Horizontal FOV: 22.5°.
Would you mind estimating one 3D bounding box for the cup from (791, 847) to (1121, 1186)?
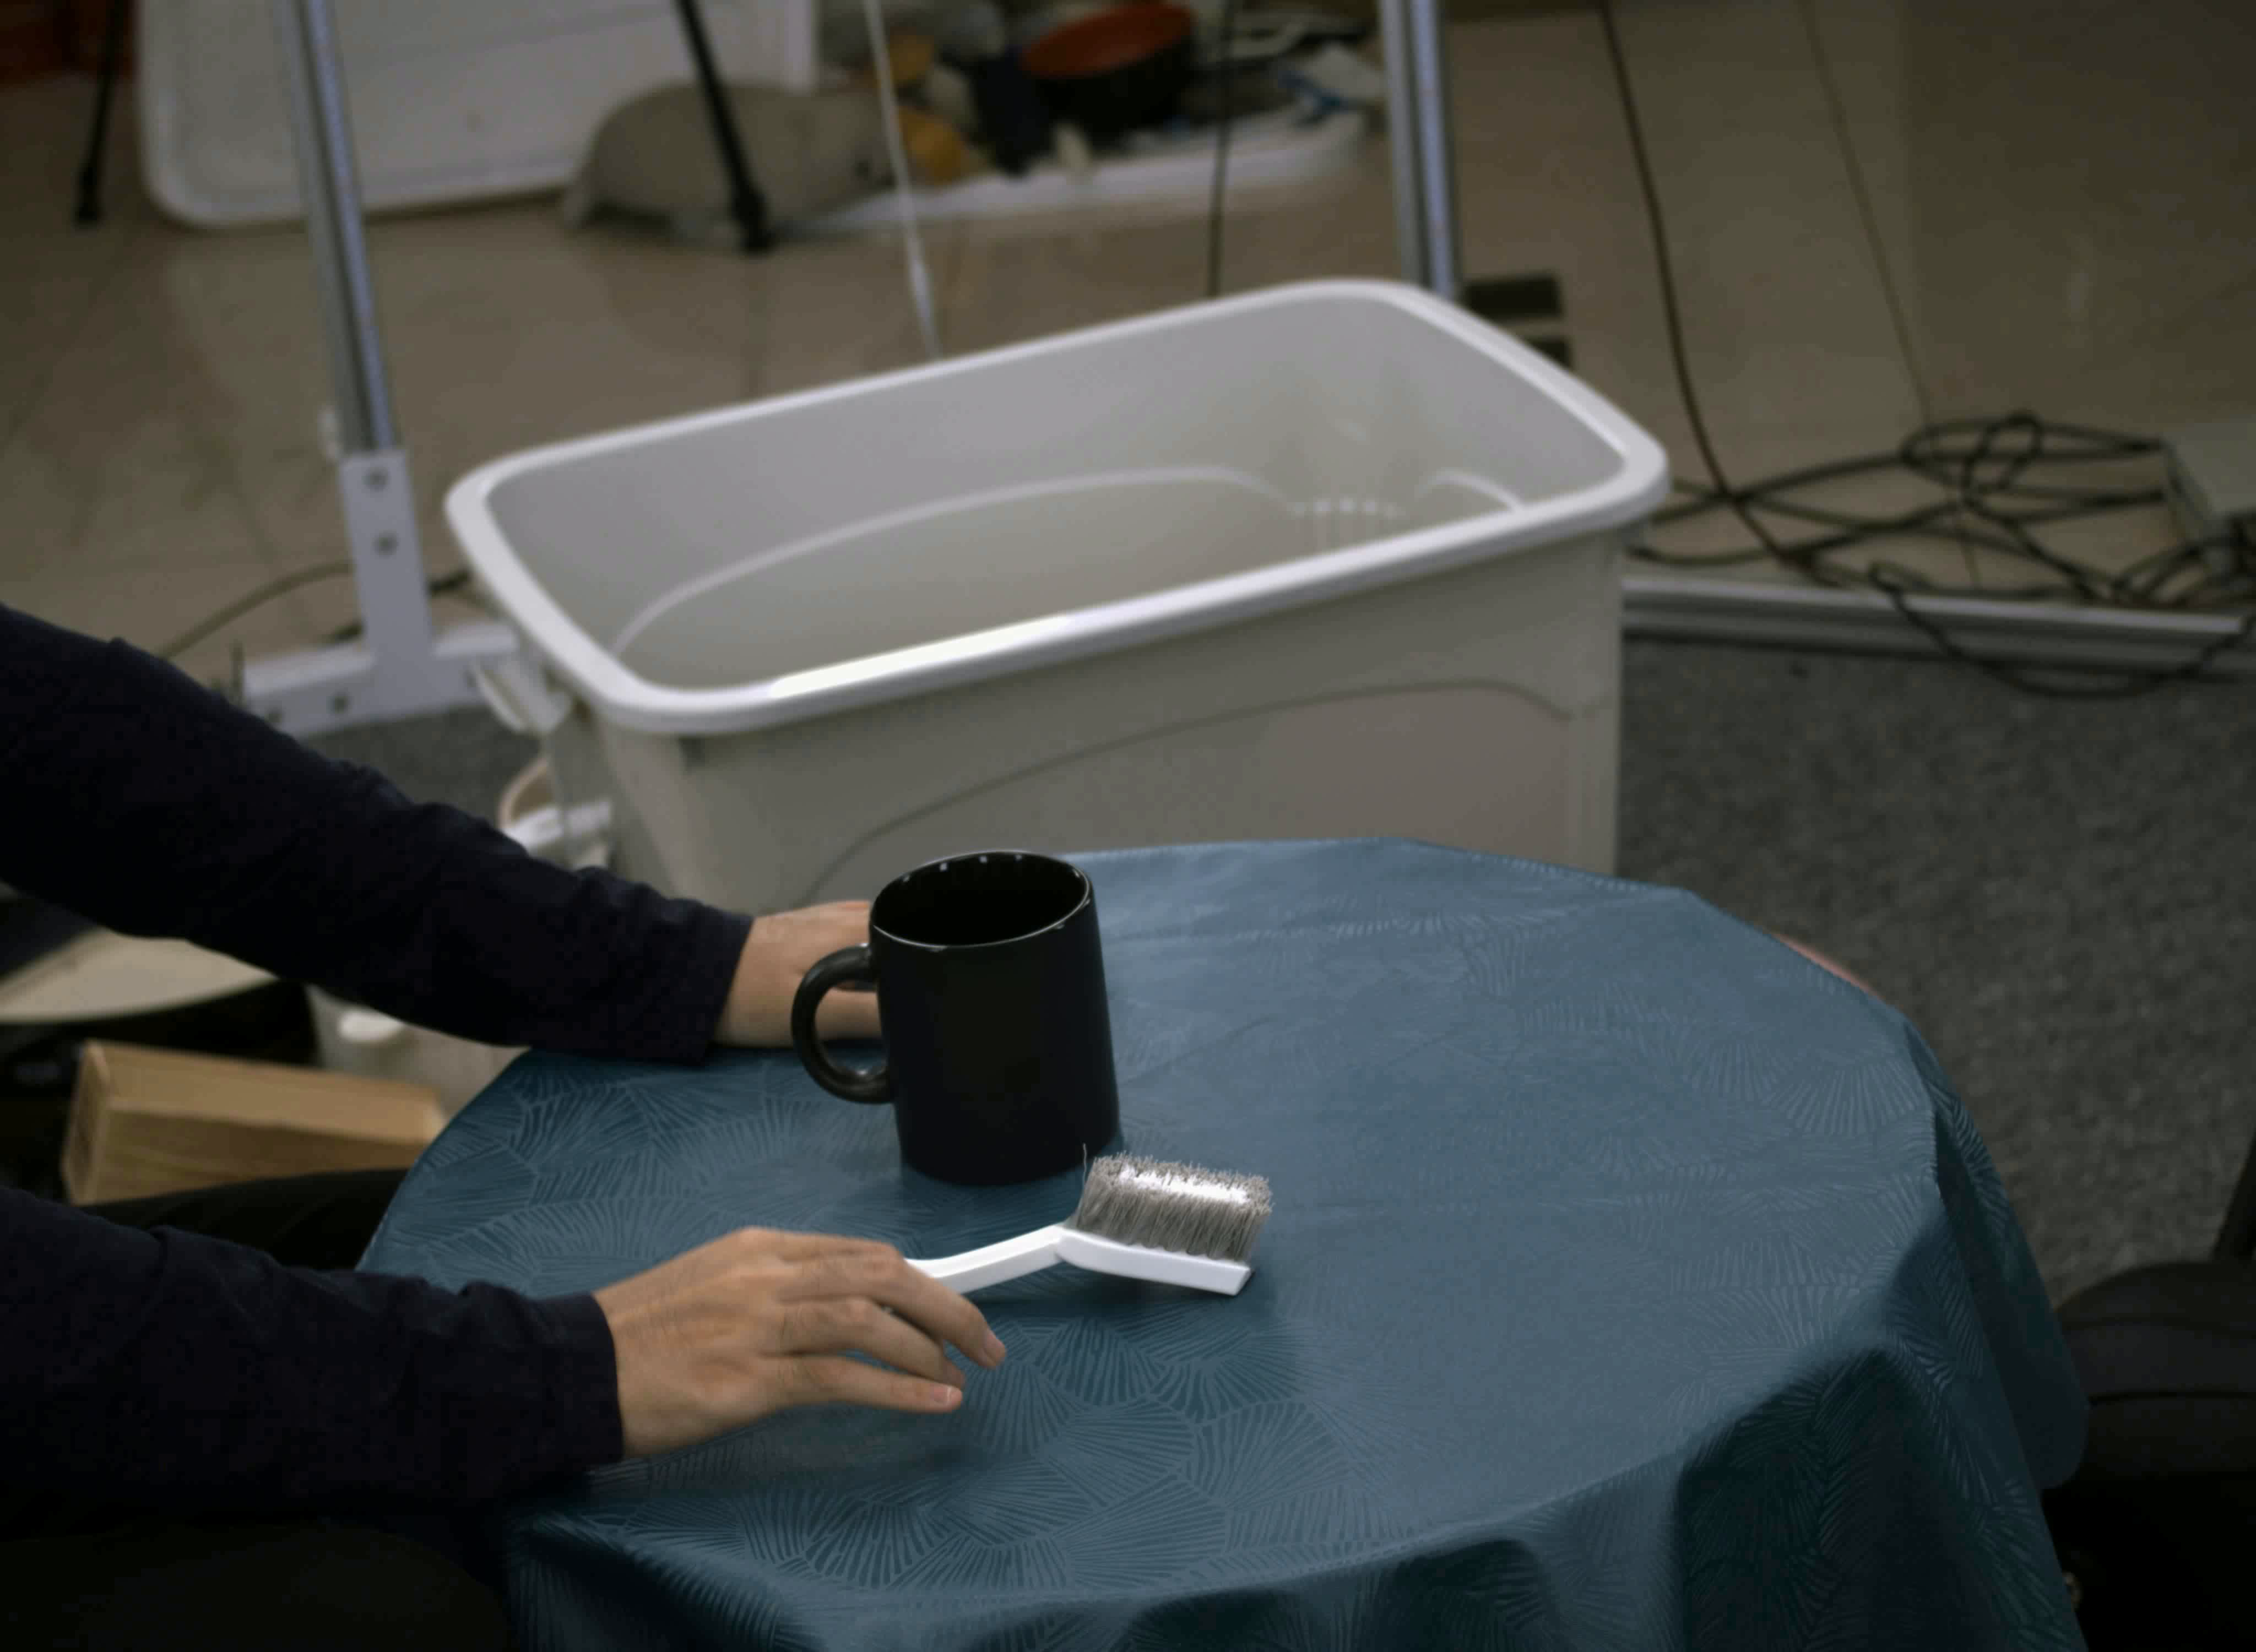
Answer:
[{"bbox_3d":[-0.069,0.074,2.180,0.123,0.107,0.087,-5,28,8],"label":"cup"}]

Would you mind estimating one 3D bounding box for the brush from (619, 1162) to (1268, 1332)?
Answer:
[{"bbox_3d":[-0.069,0.154,2.076,0.243,0.051,0.034,-4,30,5],"label":"brush"}]
